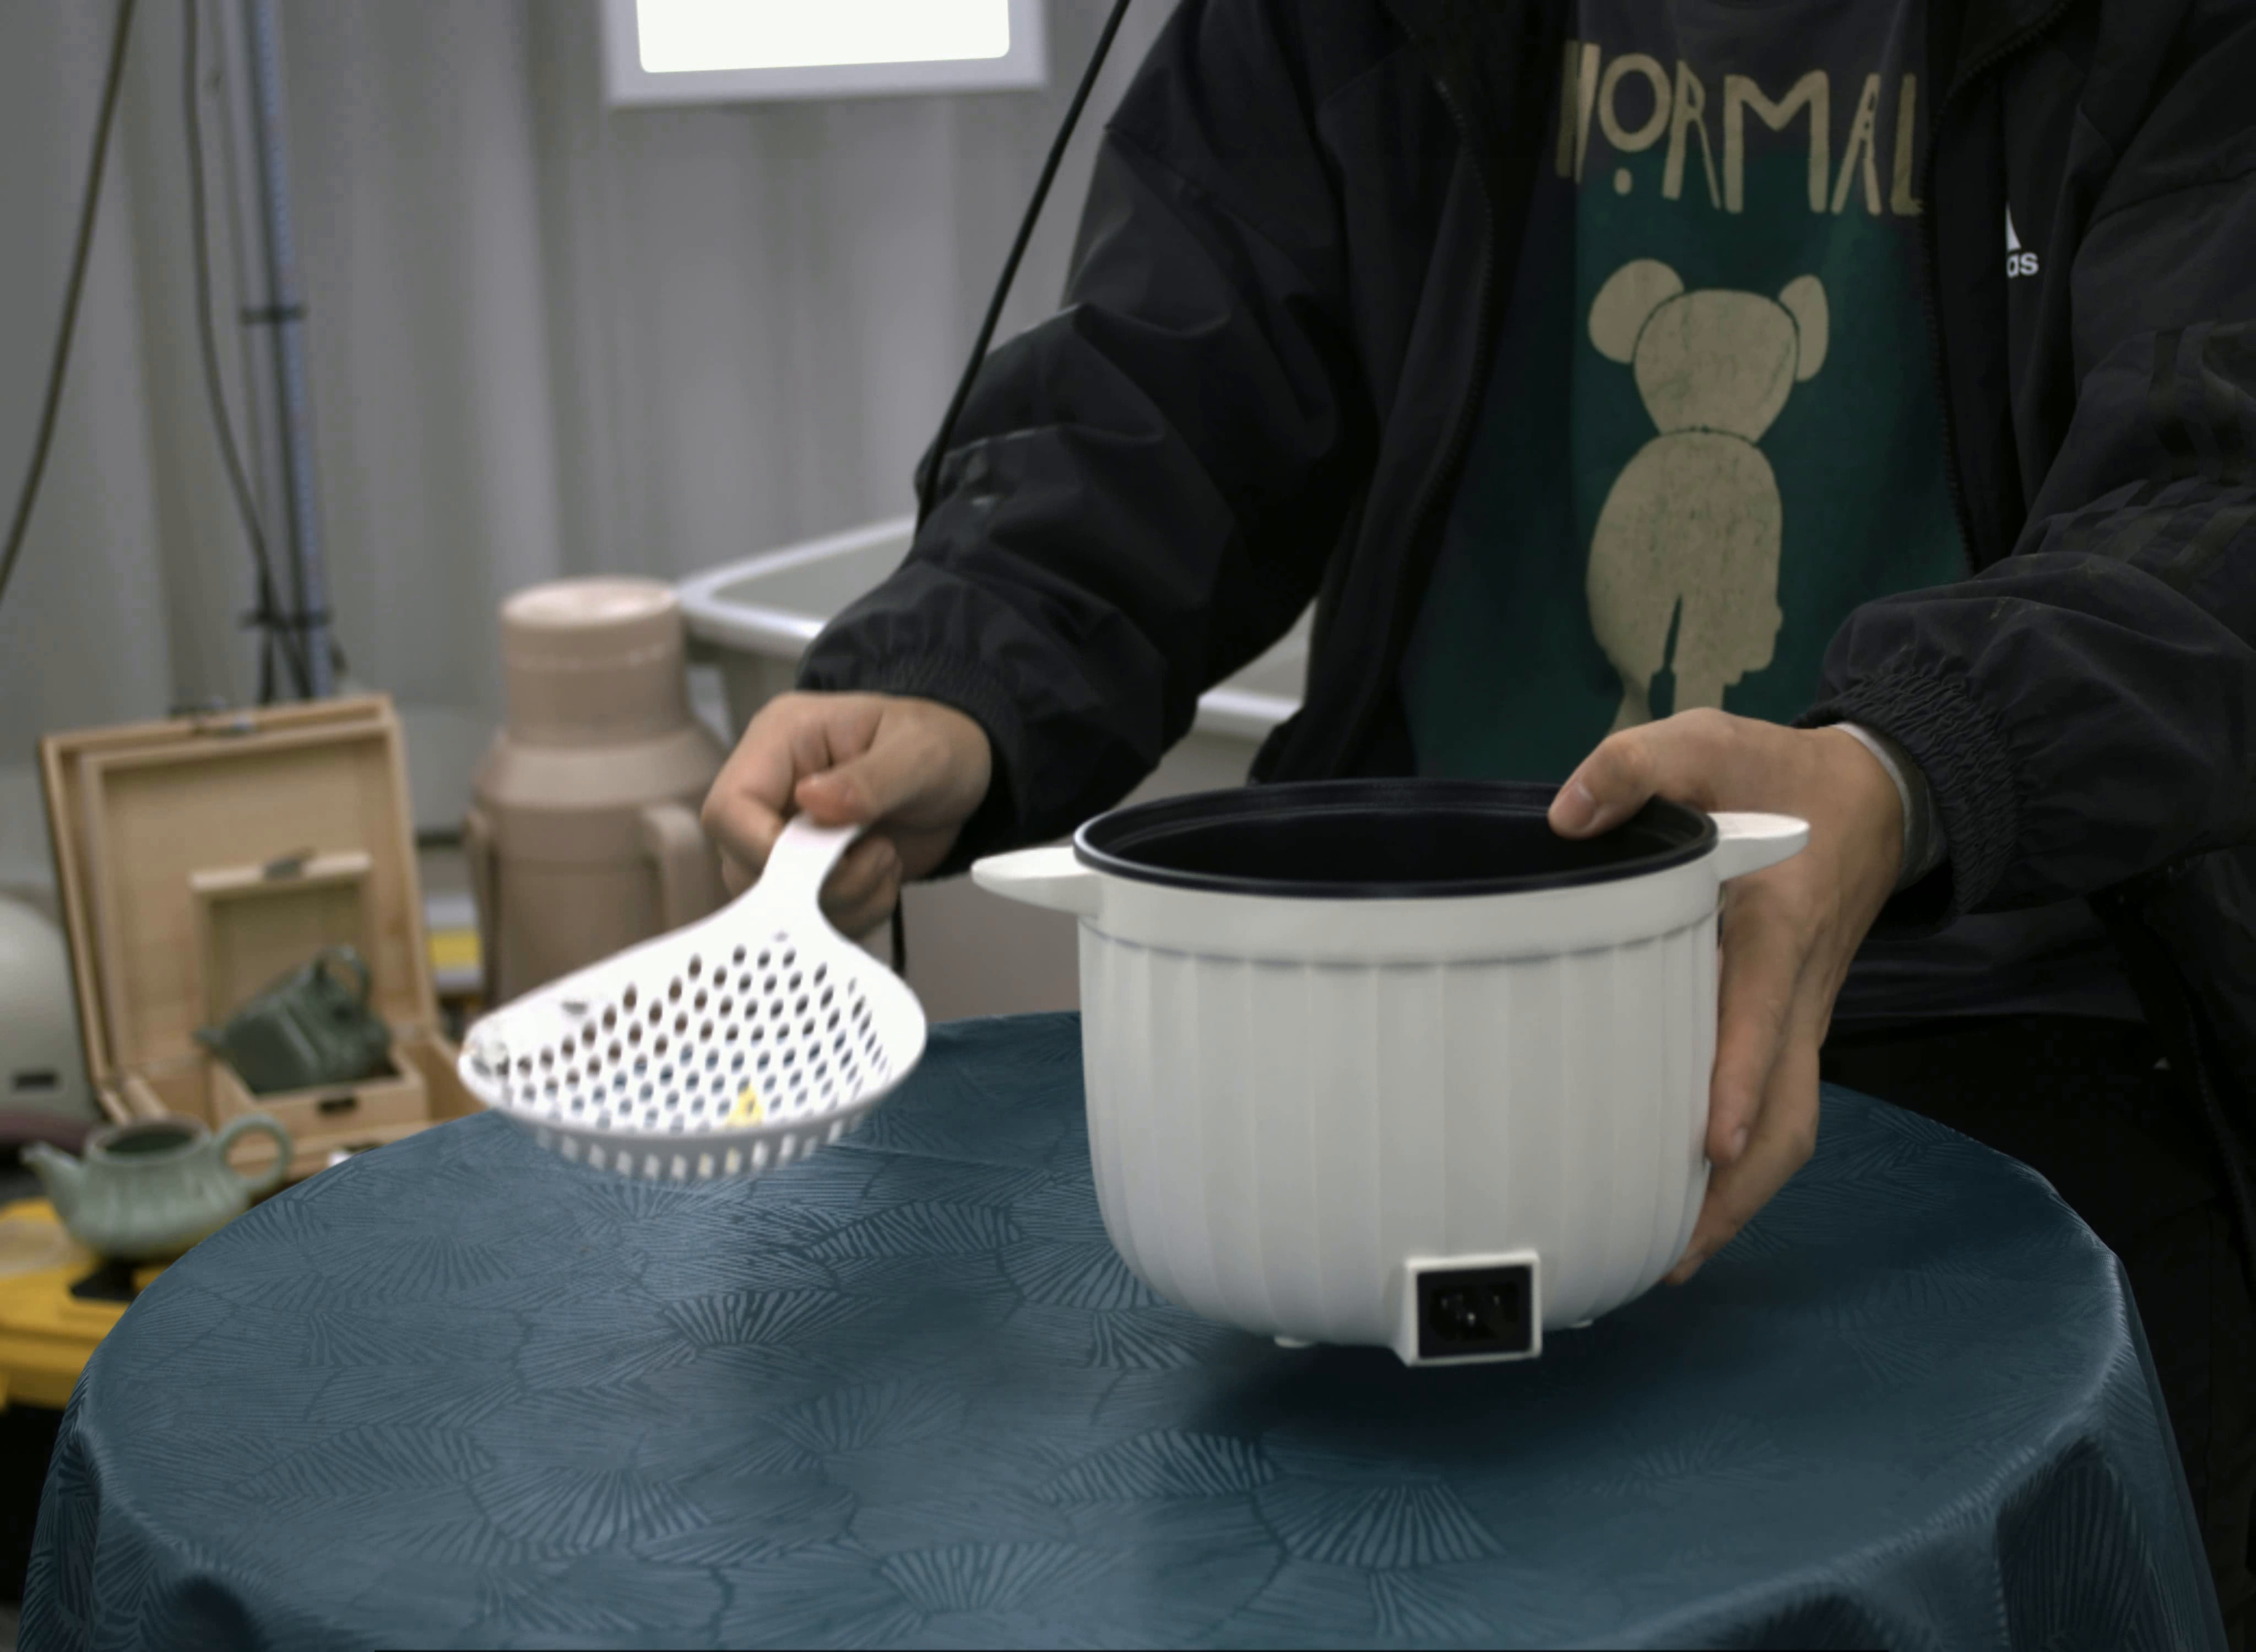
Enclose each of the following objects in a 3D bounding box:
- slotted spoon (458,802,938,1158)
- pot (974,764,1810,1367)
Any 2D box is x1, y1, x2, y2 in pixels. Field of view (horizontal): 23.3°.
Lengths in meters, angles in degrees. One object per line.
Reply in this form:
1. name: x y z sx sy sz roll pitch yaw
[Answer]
1. slotted spoon: -0.110 0.033 1.677 0.136 0.050 0.351 -1 20 7
2. pot: 0.074 0.064 1.543 0.239 0.142 0.192 -2 12 -11
